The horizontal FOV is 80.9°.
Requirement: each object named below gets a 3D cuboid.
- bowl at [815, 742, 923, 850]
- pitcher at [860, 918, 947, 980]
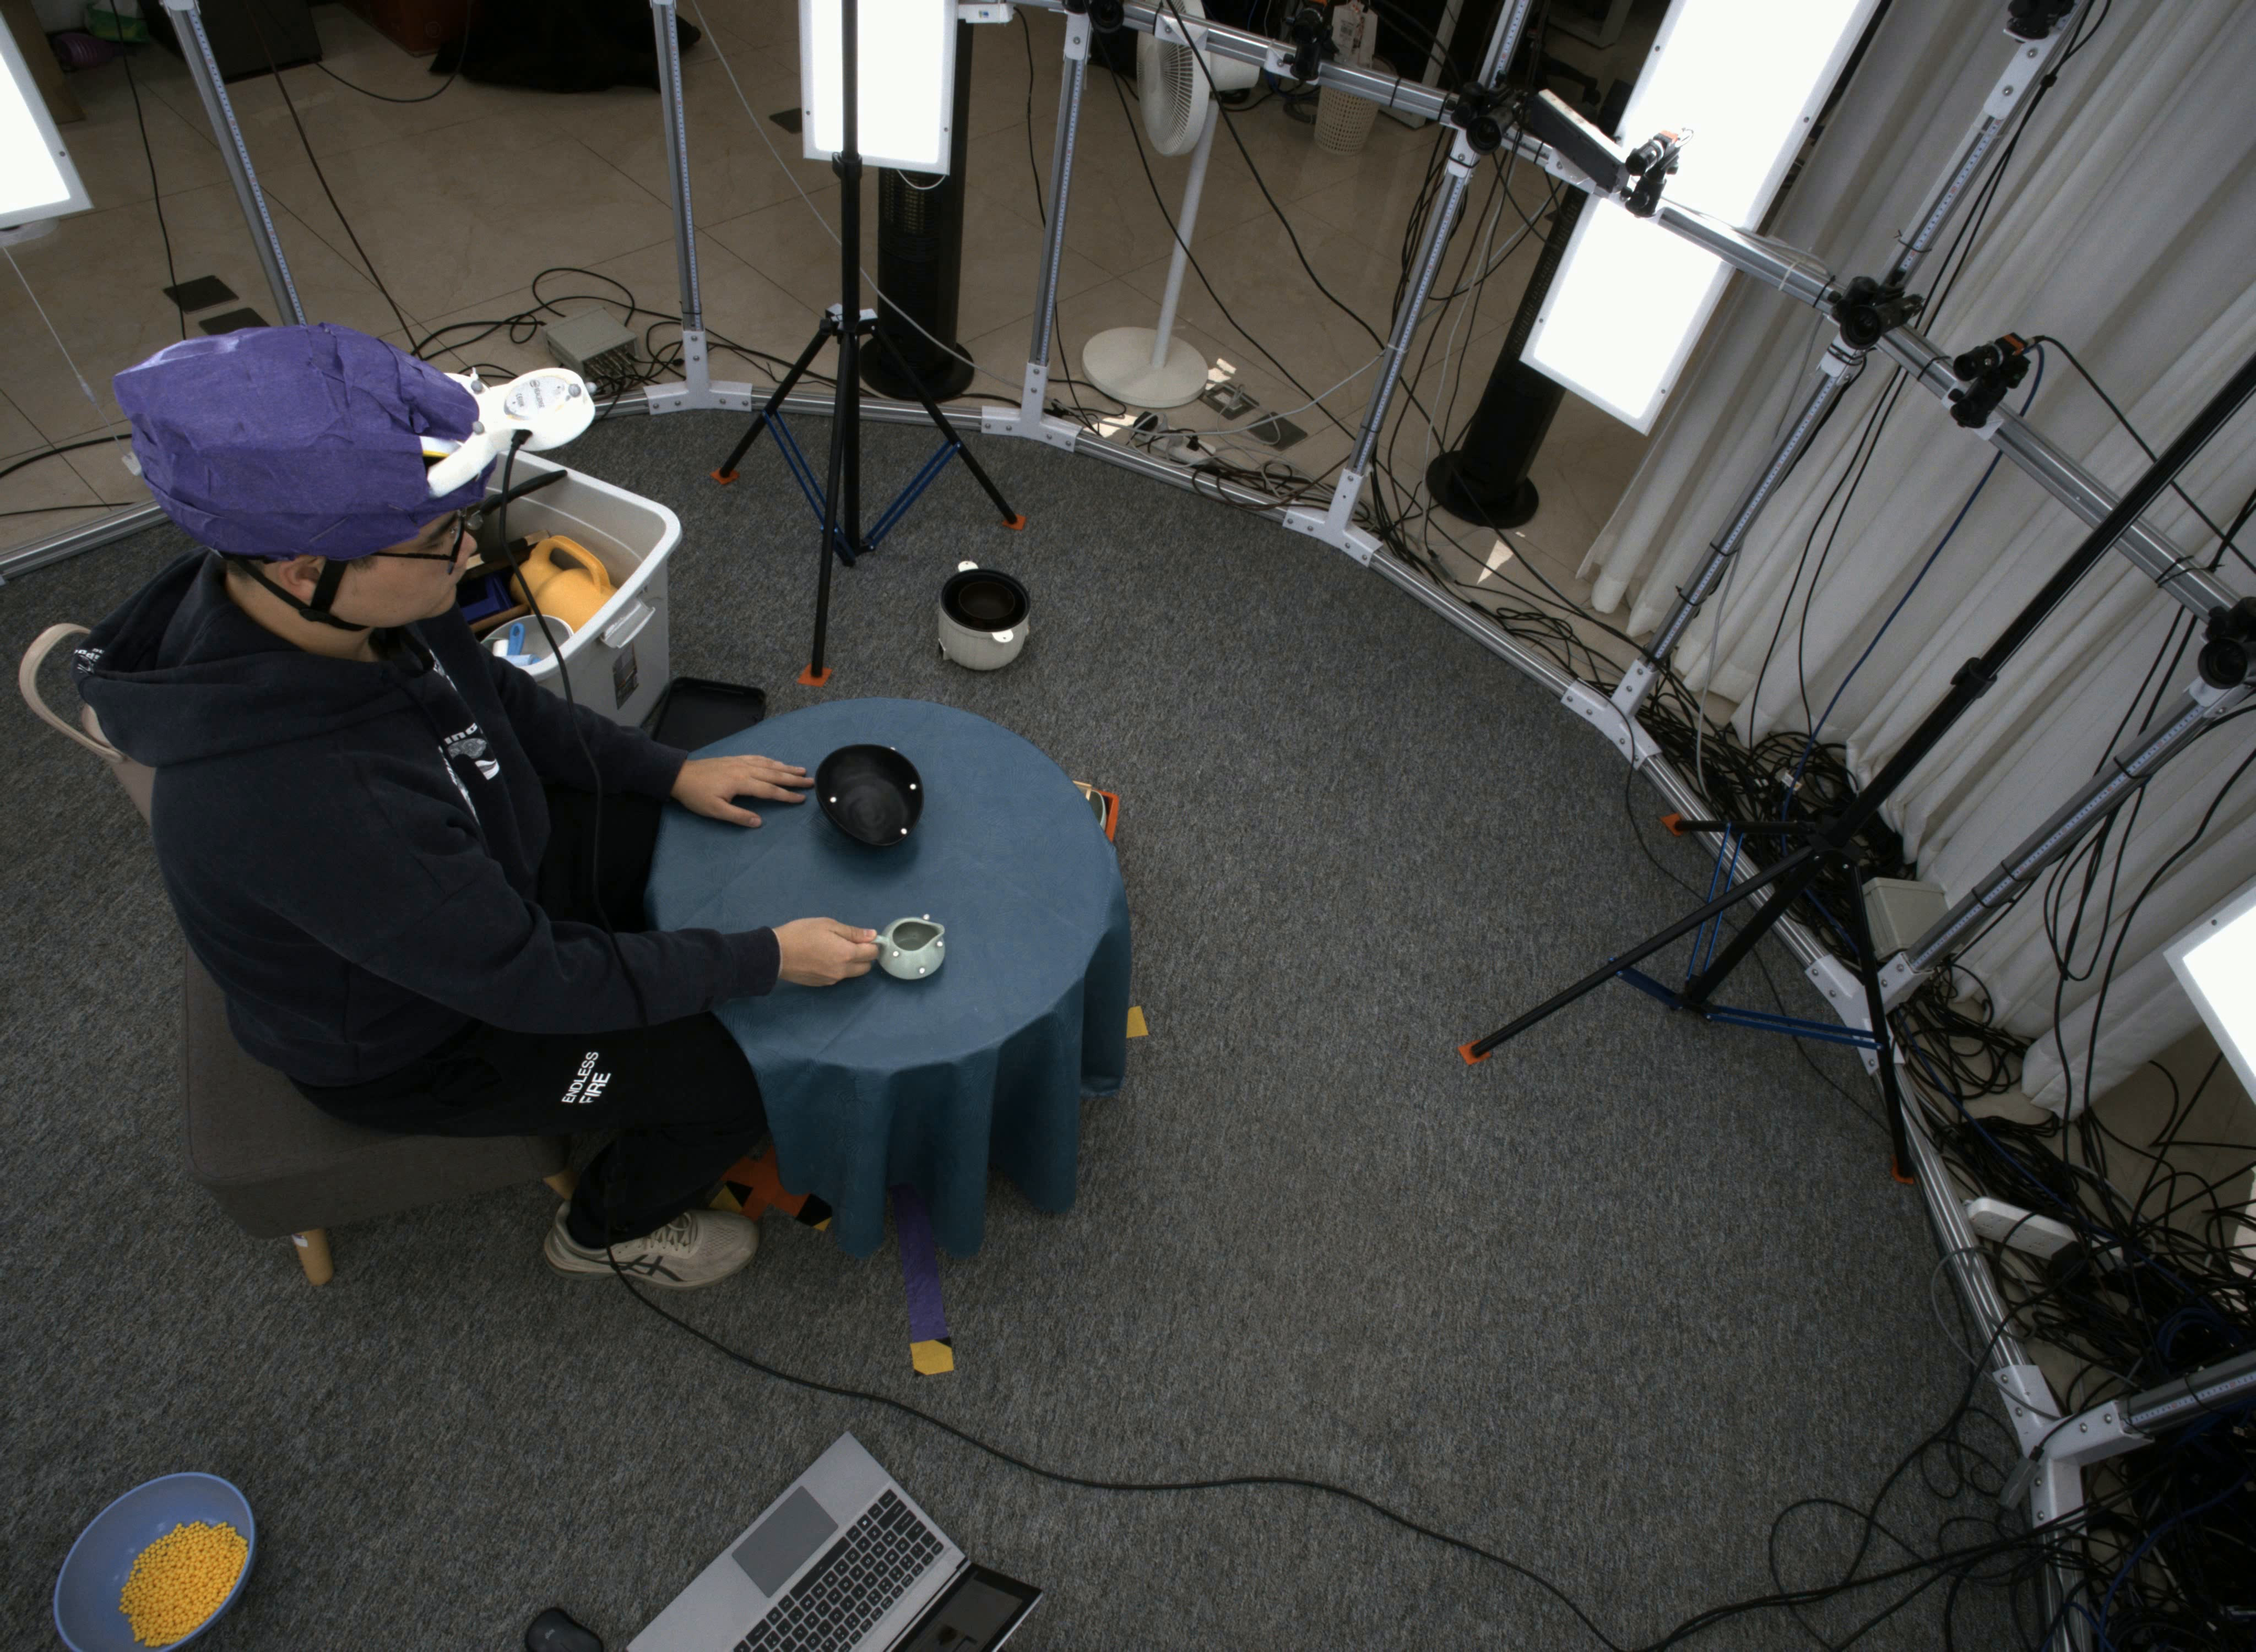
[{"bbox_3d":[-0.342,-0.032,1.724,0.138,0.068,0.166,-19,61,-25],"label":"bowl"},{"bbox_3d":[-0.278,0.149,1.609,0.108,0.062,0.084,-11,55,-18],"label":"pitcher"}]
